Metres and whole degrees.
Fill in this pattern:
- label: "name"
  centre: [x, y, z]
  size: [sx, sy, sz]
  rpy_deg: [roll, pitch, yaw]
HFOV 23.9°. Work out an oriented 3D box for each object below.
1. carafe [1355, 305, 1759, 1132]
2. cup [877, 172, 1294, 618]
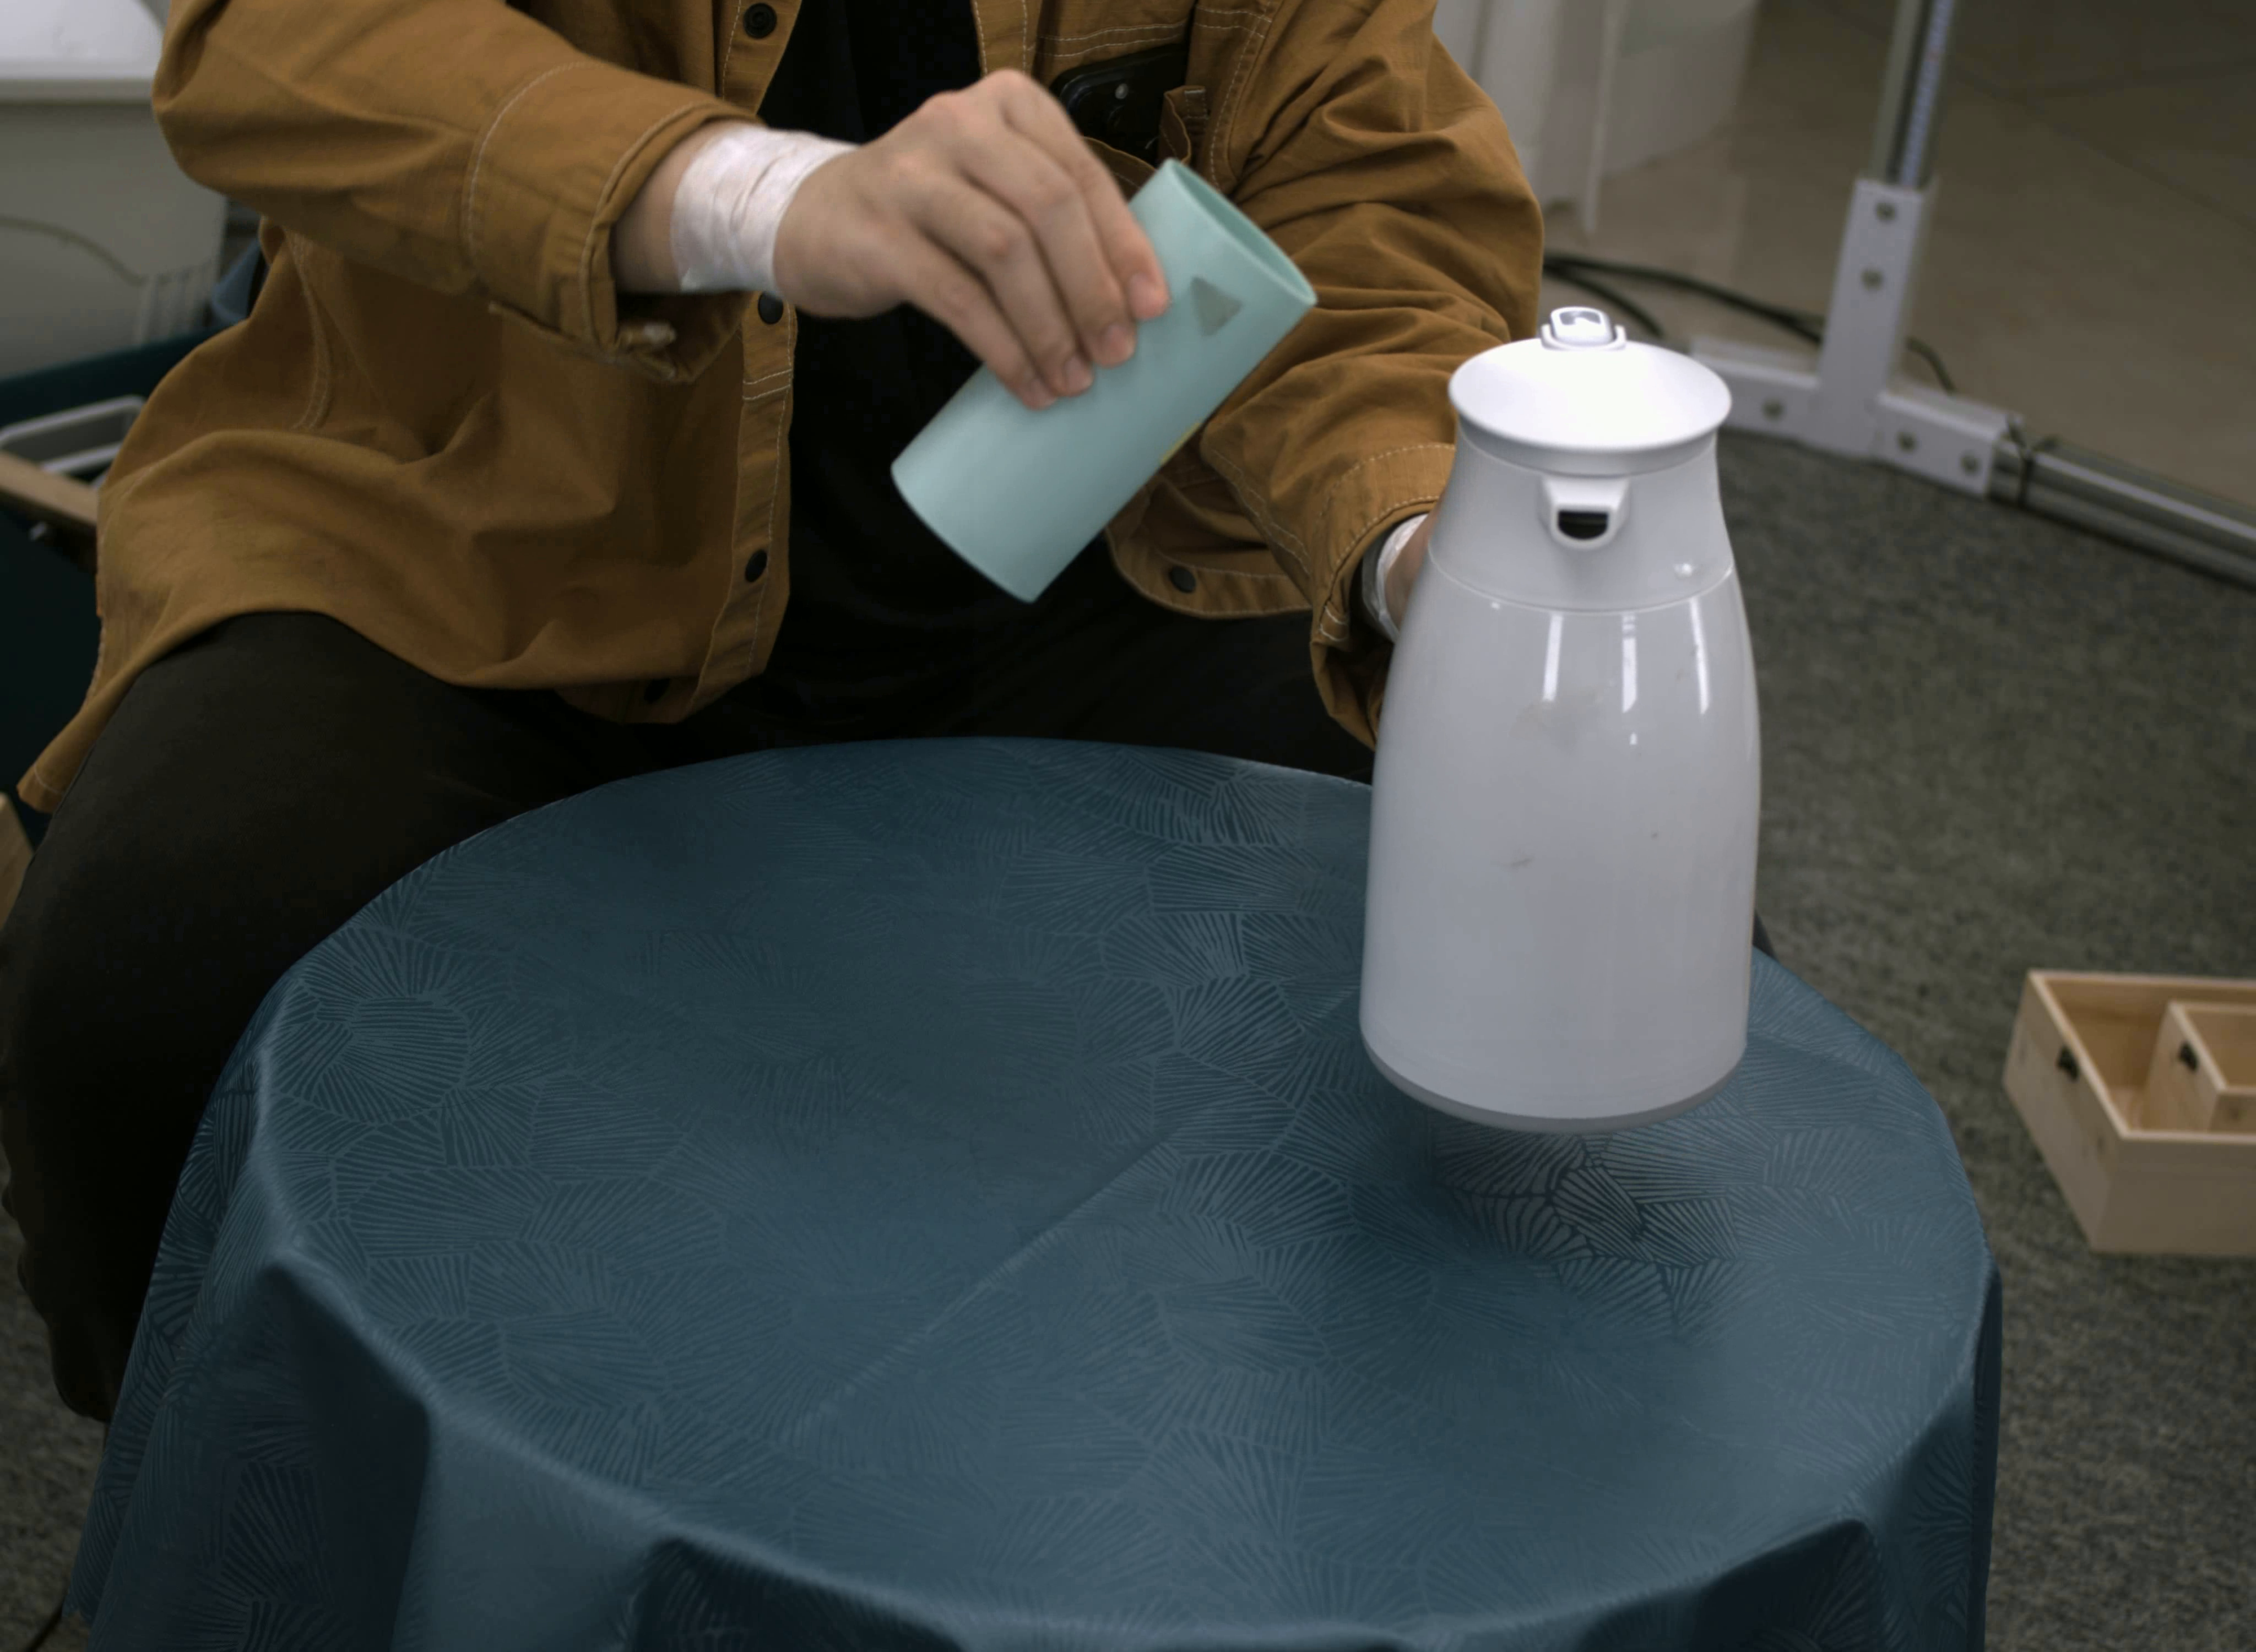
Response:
- label: "carafe"
  centre: [0.146, -0.046, 1.782]
  size: [0.132, 0.248, 0.168]
  rpy_deg: [3, 26, 4]
- label: "cup"
  centre: [-0.015, -0.136, 1.666]
  size: [0.066, 0.132, 0.067]
  rpy_deg: [40, 11, -10]
